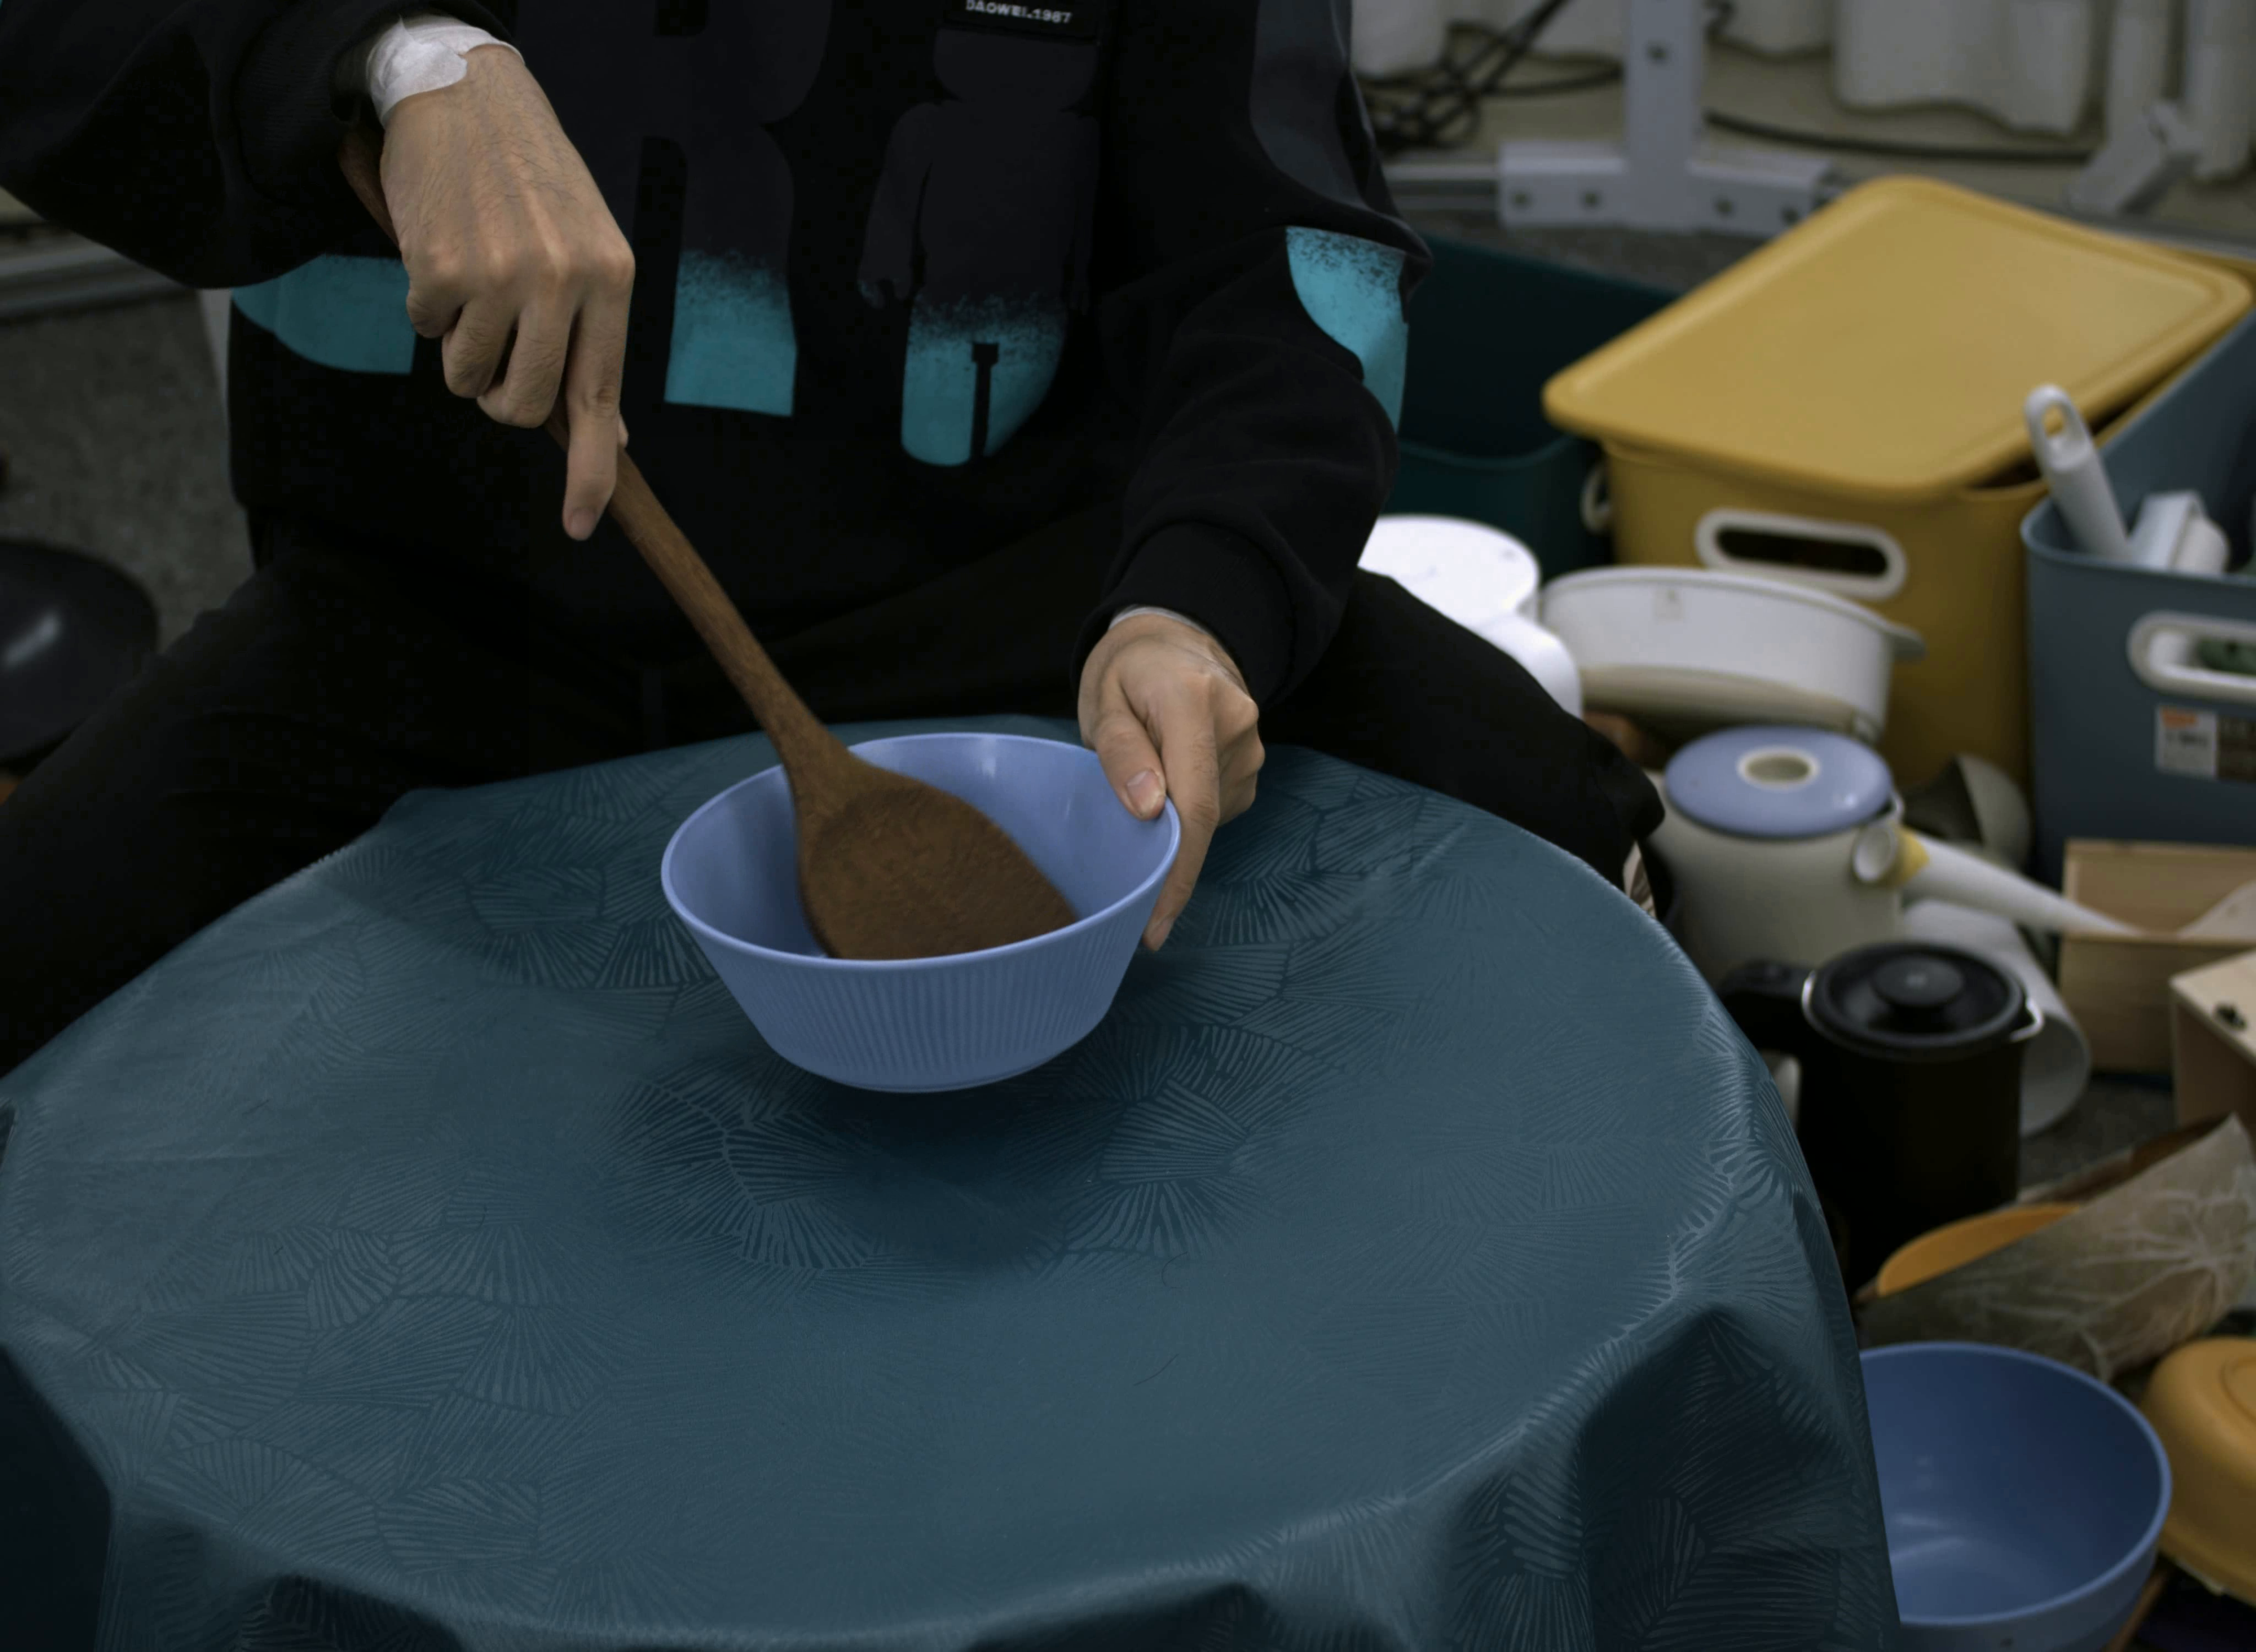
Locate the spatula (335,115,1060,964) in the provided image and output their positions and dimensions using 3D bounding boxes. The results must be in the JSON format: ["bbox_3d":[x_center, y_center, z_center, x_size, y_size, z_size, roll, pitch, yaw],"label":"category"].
[{"bbox_3d":[-0.156,-0.089,1.927,0.097,0.387,0.015,-31,-7,-42],"label":"spatula"}]

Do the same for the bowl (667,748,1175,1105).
[{"bbox_3d":[-0.065,0.040,1.910,0.175,0.069,0.178,-8,24,4],"label":"bowl"}]
